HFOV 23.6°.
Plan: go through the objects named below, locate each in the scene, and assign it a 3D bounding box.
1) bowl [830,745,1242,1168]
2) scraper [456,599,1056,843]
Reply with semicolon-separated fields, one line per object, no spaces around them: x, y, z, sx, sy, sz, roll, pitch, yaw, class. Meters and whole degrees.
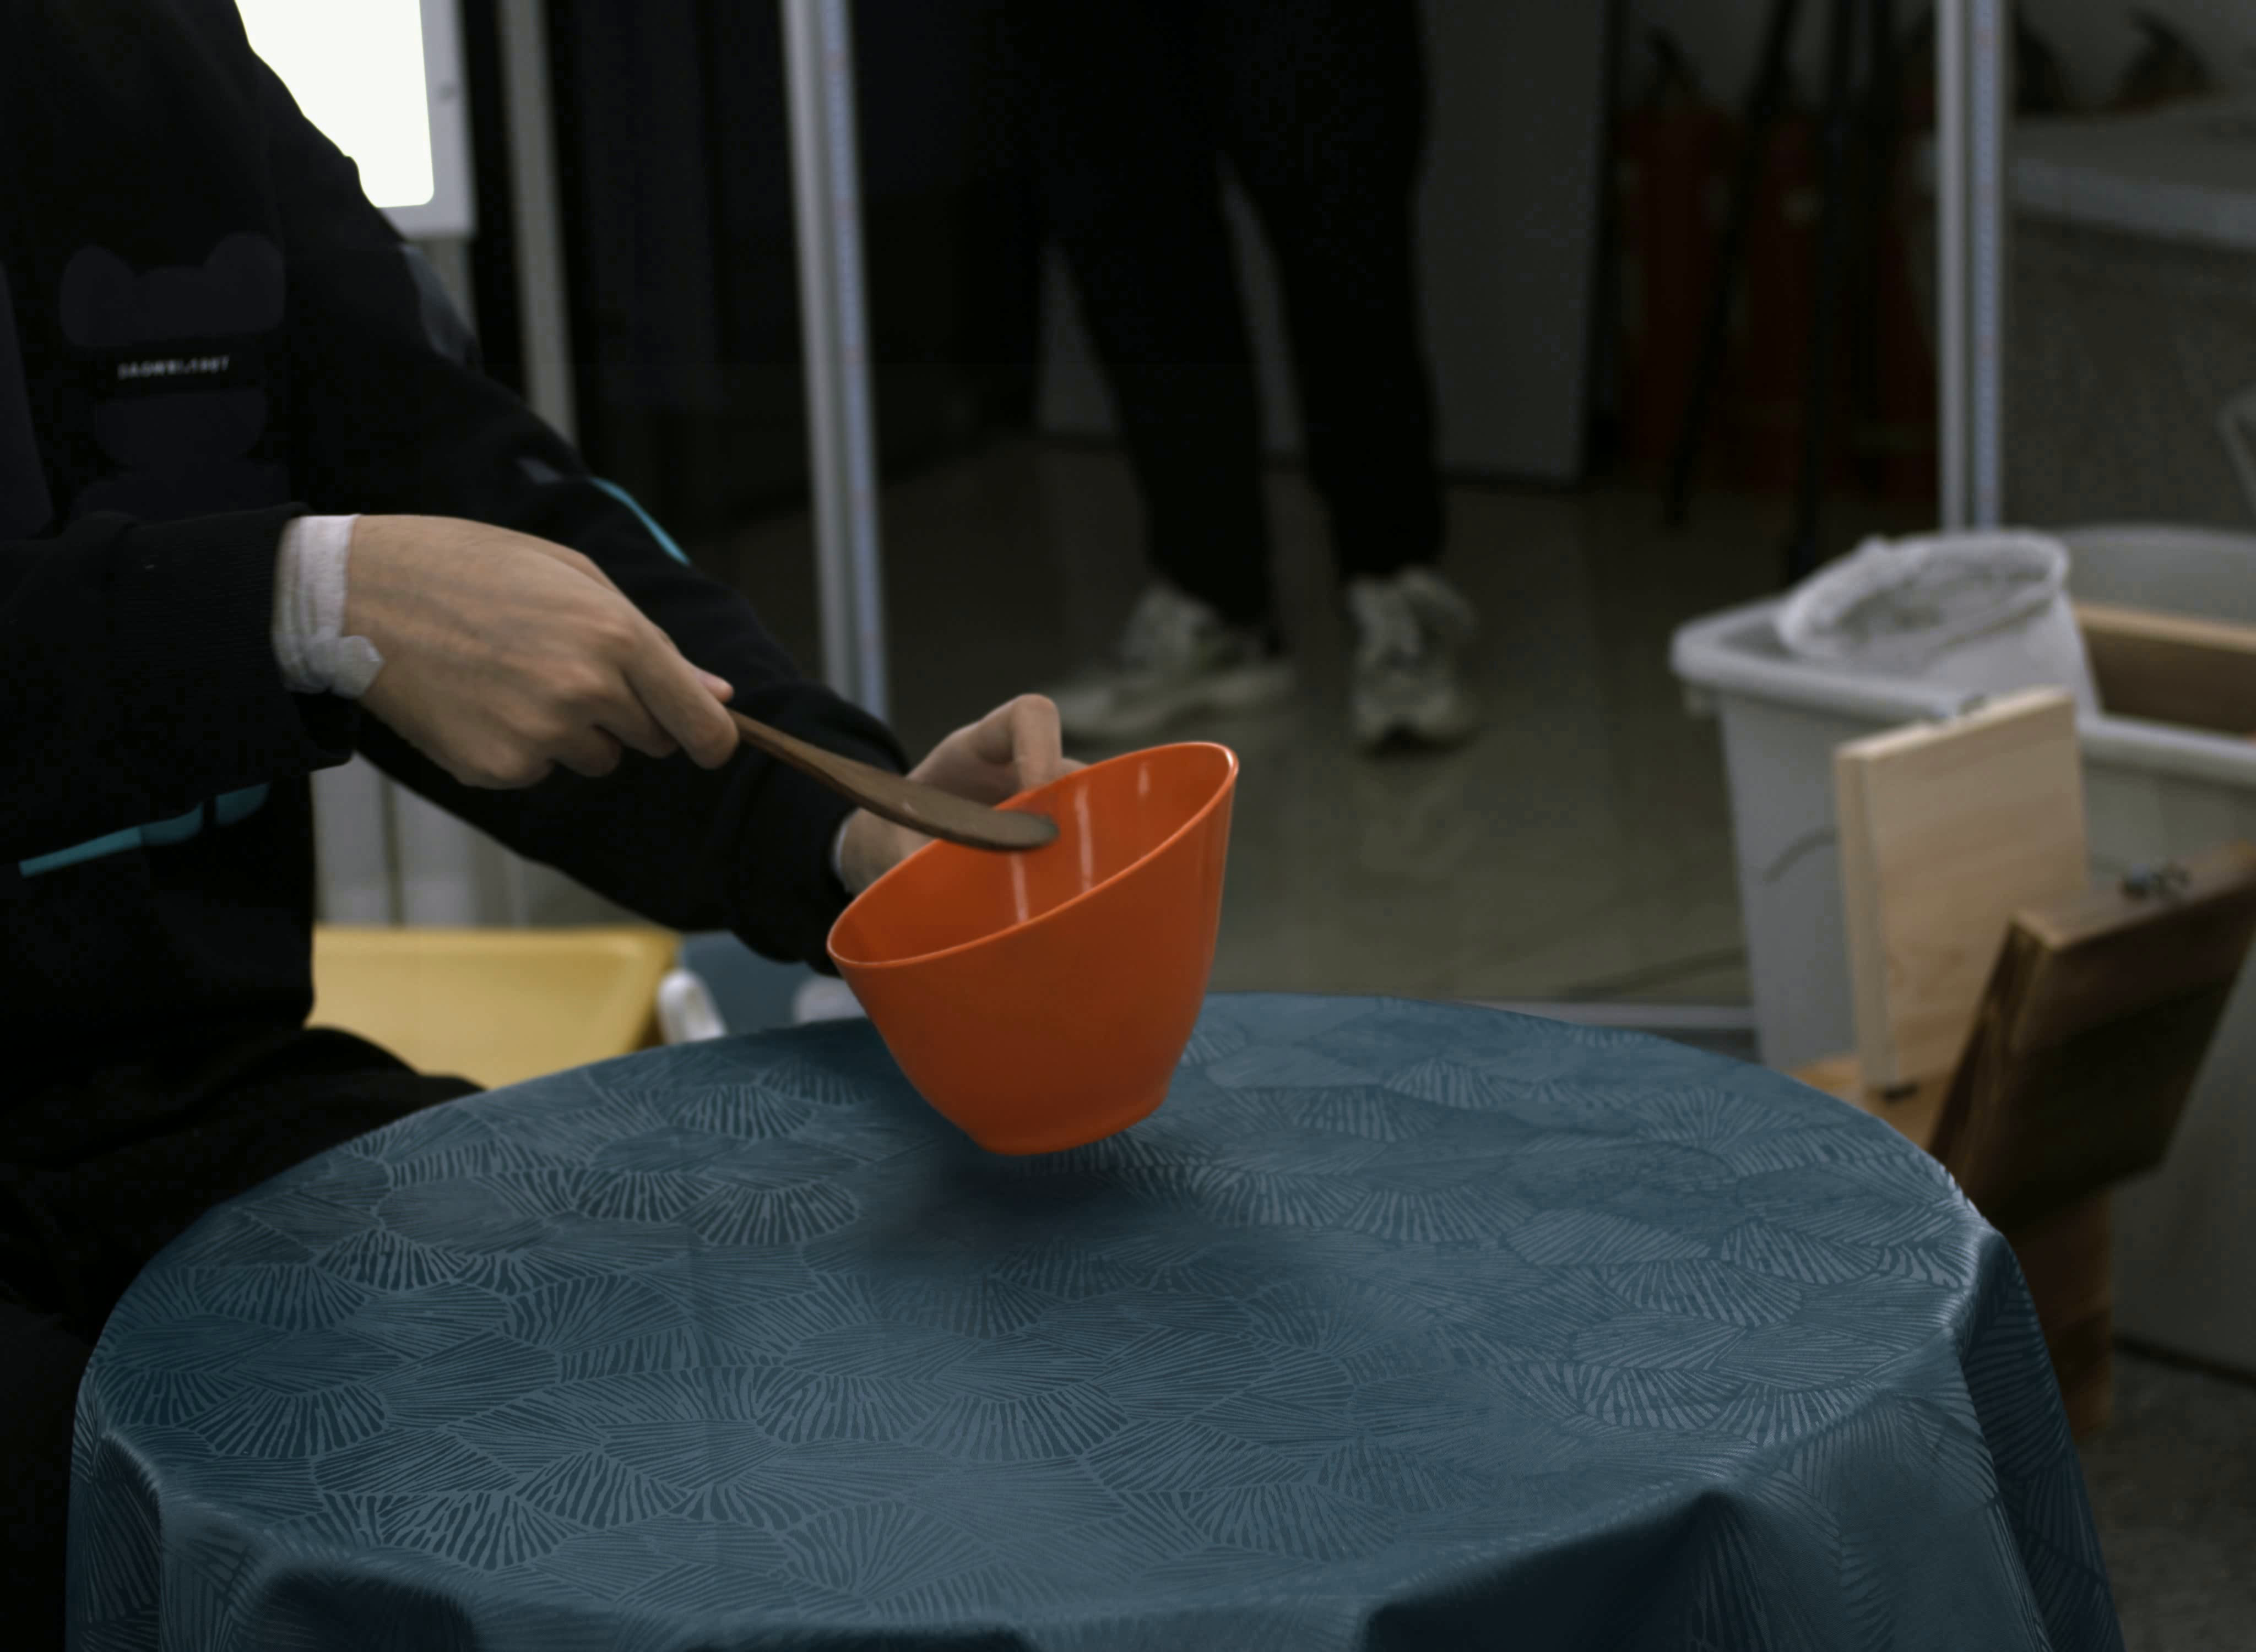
-0.019;0.048;1.766;0.146;0.105;0.148;-16;16;4;bowl
-0.123;-0.033;1.756;0.210;0.011;0.075;22;9;12;scraper
